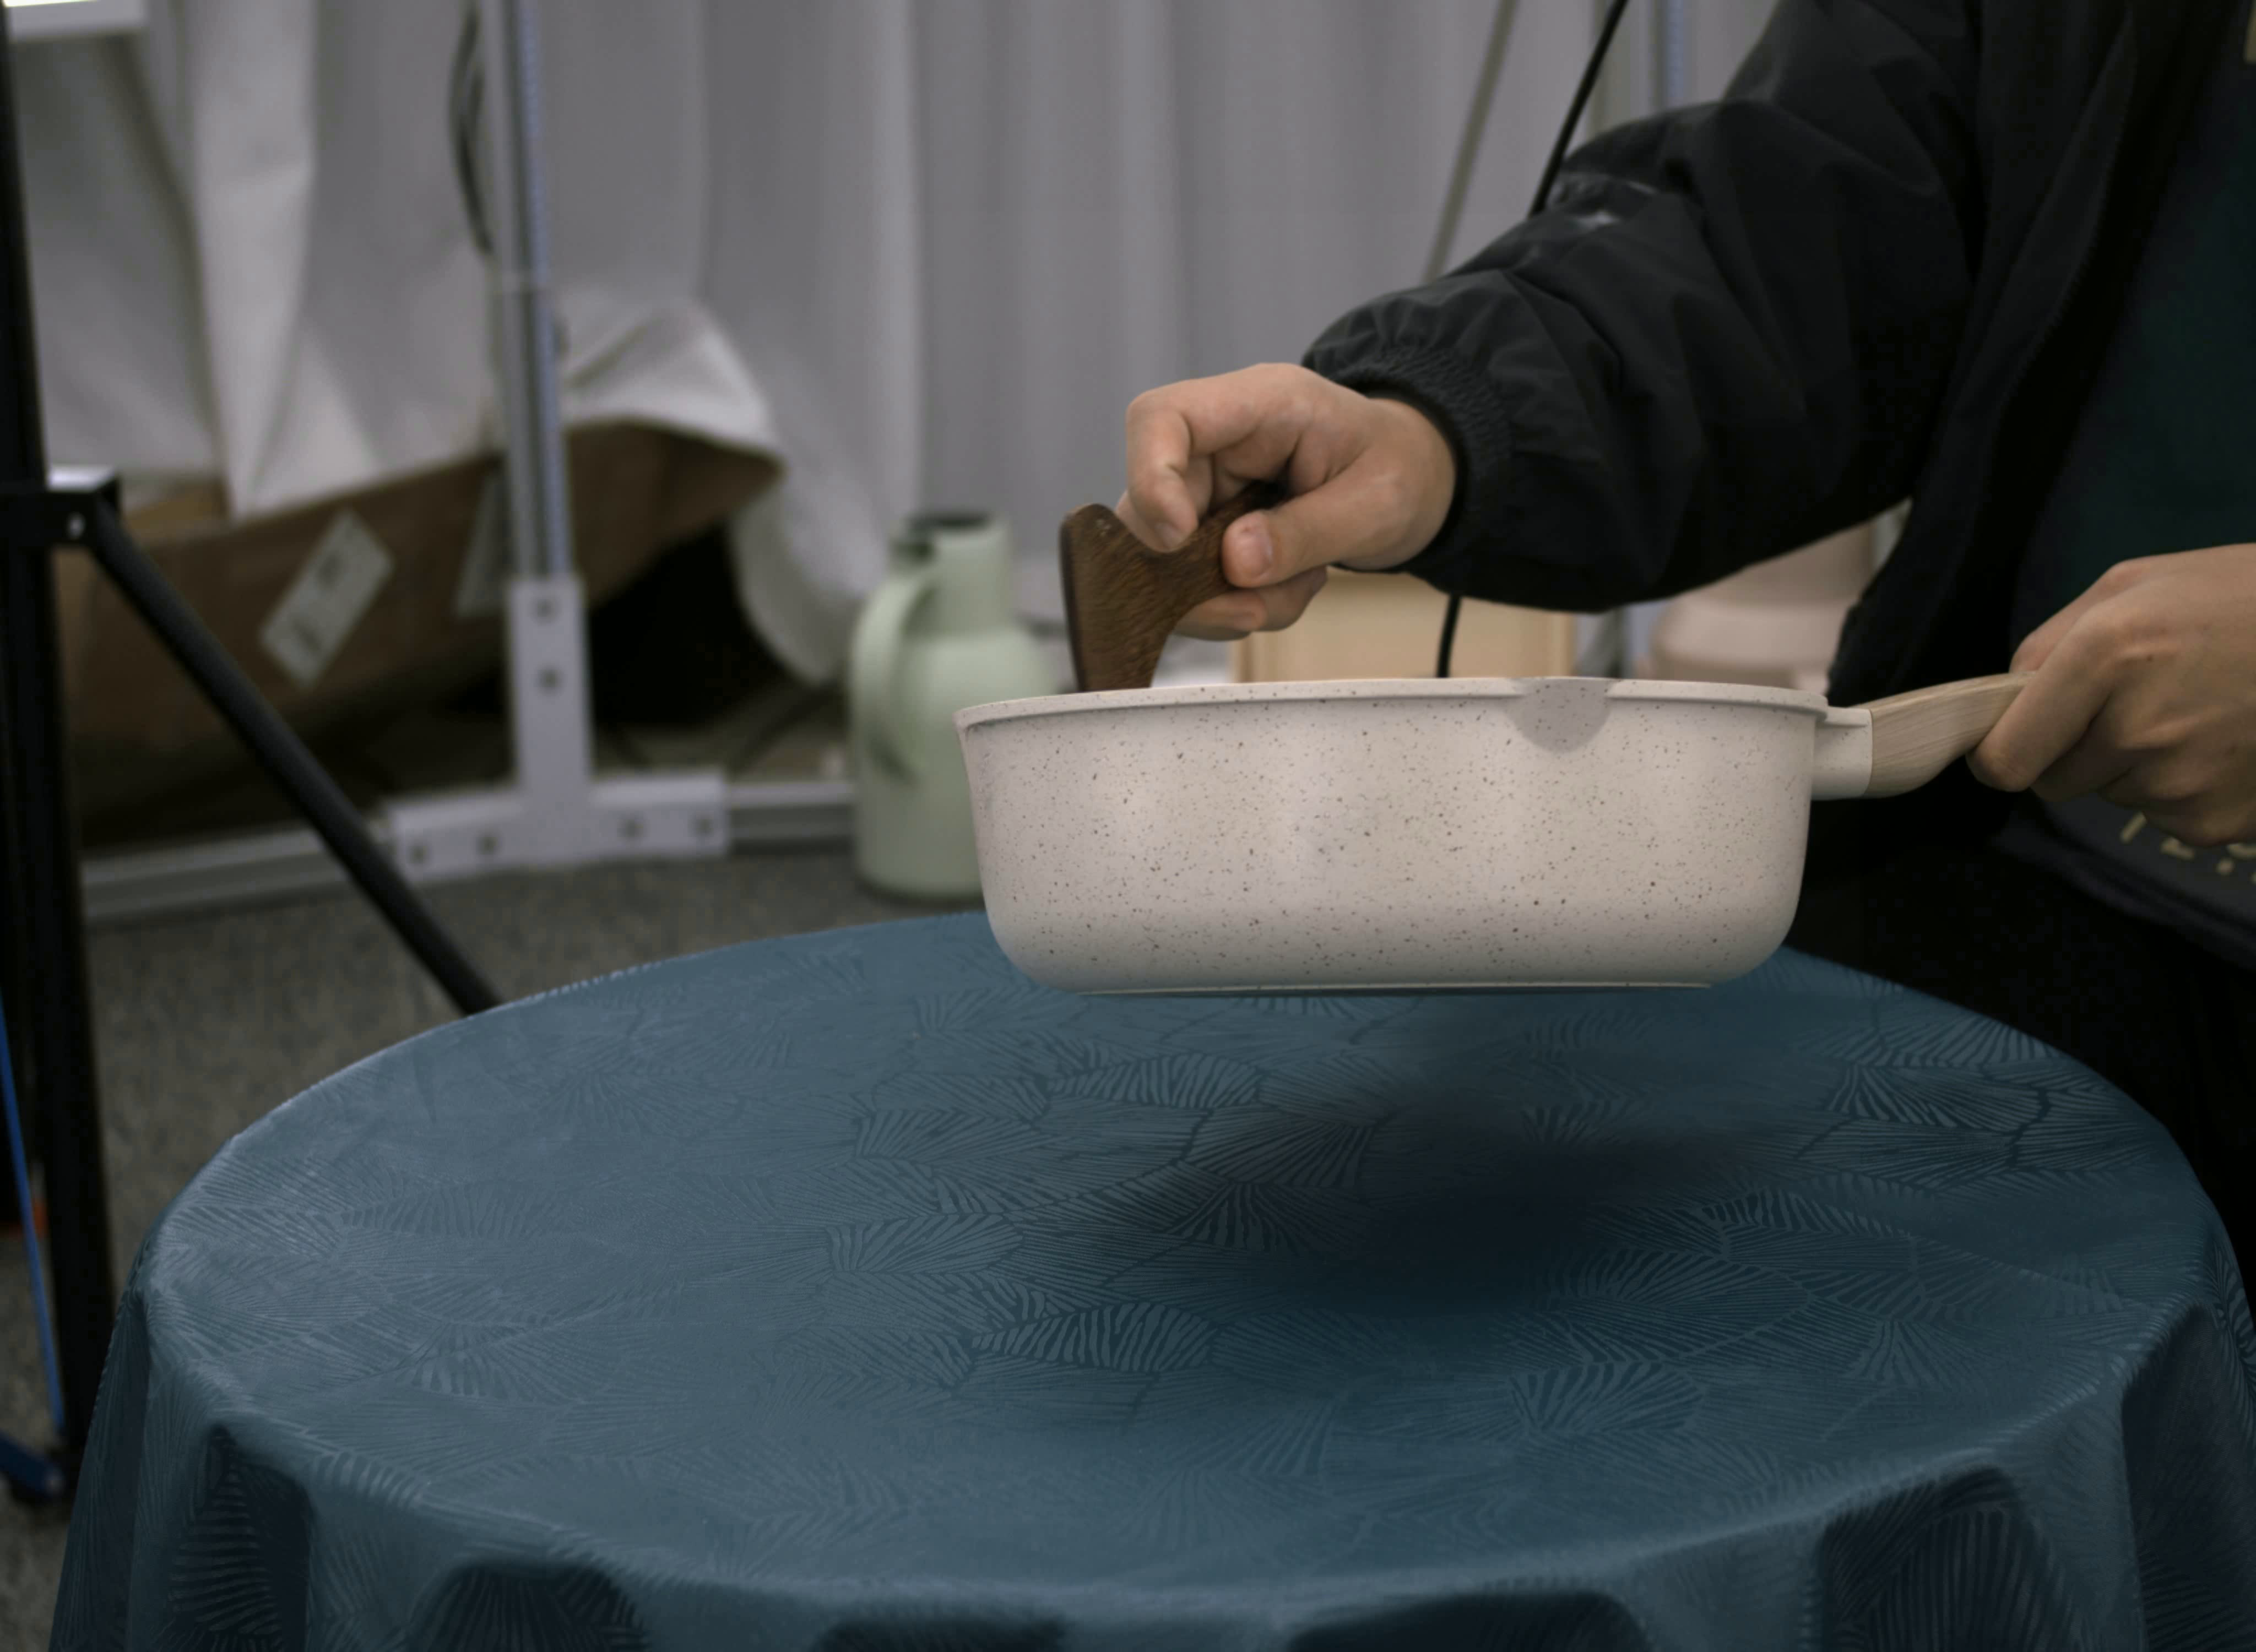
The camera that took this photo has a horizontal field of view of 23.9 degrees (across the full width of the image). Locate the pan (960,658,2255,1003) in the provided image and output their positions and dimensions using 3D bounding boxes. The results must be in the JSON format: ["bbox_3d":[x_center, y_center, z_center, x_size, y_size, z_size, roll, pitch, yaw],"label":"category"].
[{"bbox_3d":[0.163,-0.001,1.542,0.427,0.102,0.266,1,-4,-19],"label":"pan"}]

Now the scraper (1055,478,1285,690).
[{"bbox_3d":[0.014,-0.073,1.583,0.011,0.076,0.209,-4,11,20],"label":"scraper"}]
